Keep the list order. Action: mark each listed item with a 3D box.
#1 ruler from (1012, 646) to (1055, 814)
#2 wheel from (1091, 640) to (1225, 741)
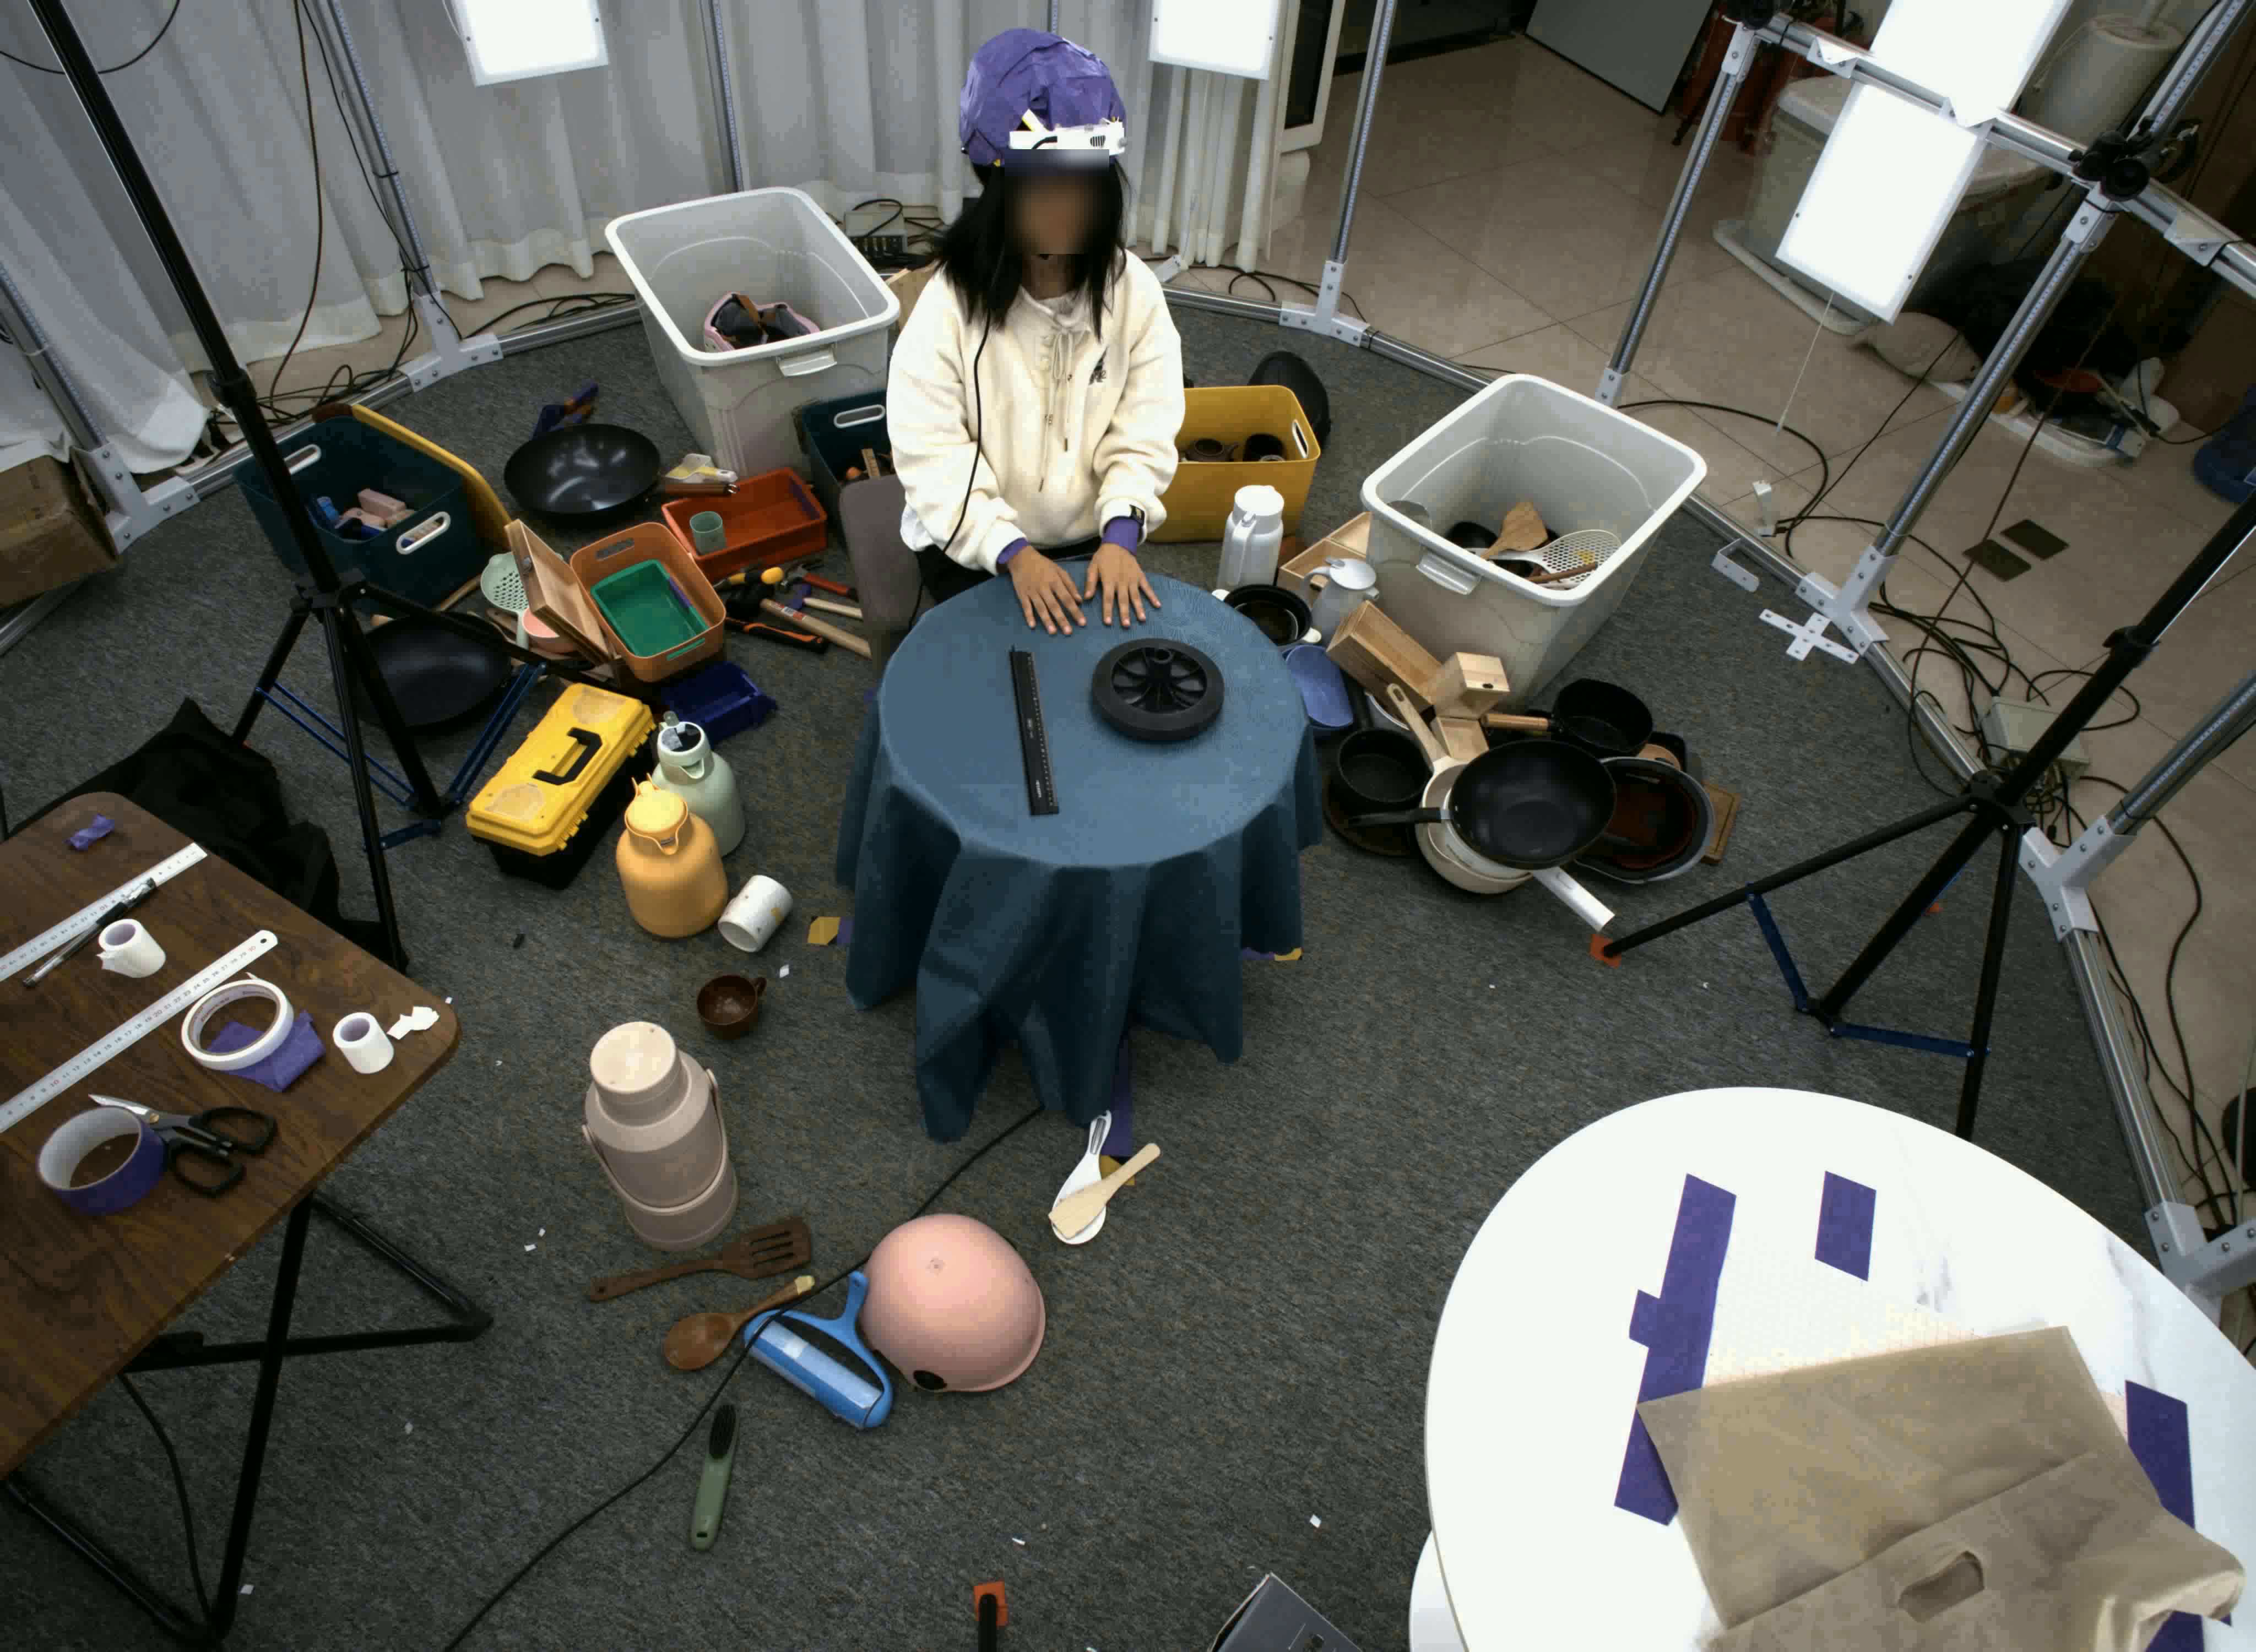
[{"bbox_3d":[-0.131,-0.139,1.772,0.039,0.017,0.320,-1,49,-10],"label":"ruler"},{"bbox_3d":[0.044,-0.208,1.805,0.190,0.077,0.192,9,49,3],"label":"wheel"}]
